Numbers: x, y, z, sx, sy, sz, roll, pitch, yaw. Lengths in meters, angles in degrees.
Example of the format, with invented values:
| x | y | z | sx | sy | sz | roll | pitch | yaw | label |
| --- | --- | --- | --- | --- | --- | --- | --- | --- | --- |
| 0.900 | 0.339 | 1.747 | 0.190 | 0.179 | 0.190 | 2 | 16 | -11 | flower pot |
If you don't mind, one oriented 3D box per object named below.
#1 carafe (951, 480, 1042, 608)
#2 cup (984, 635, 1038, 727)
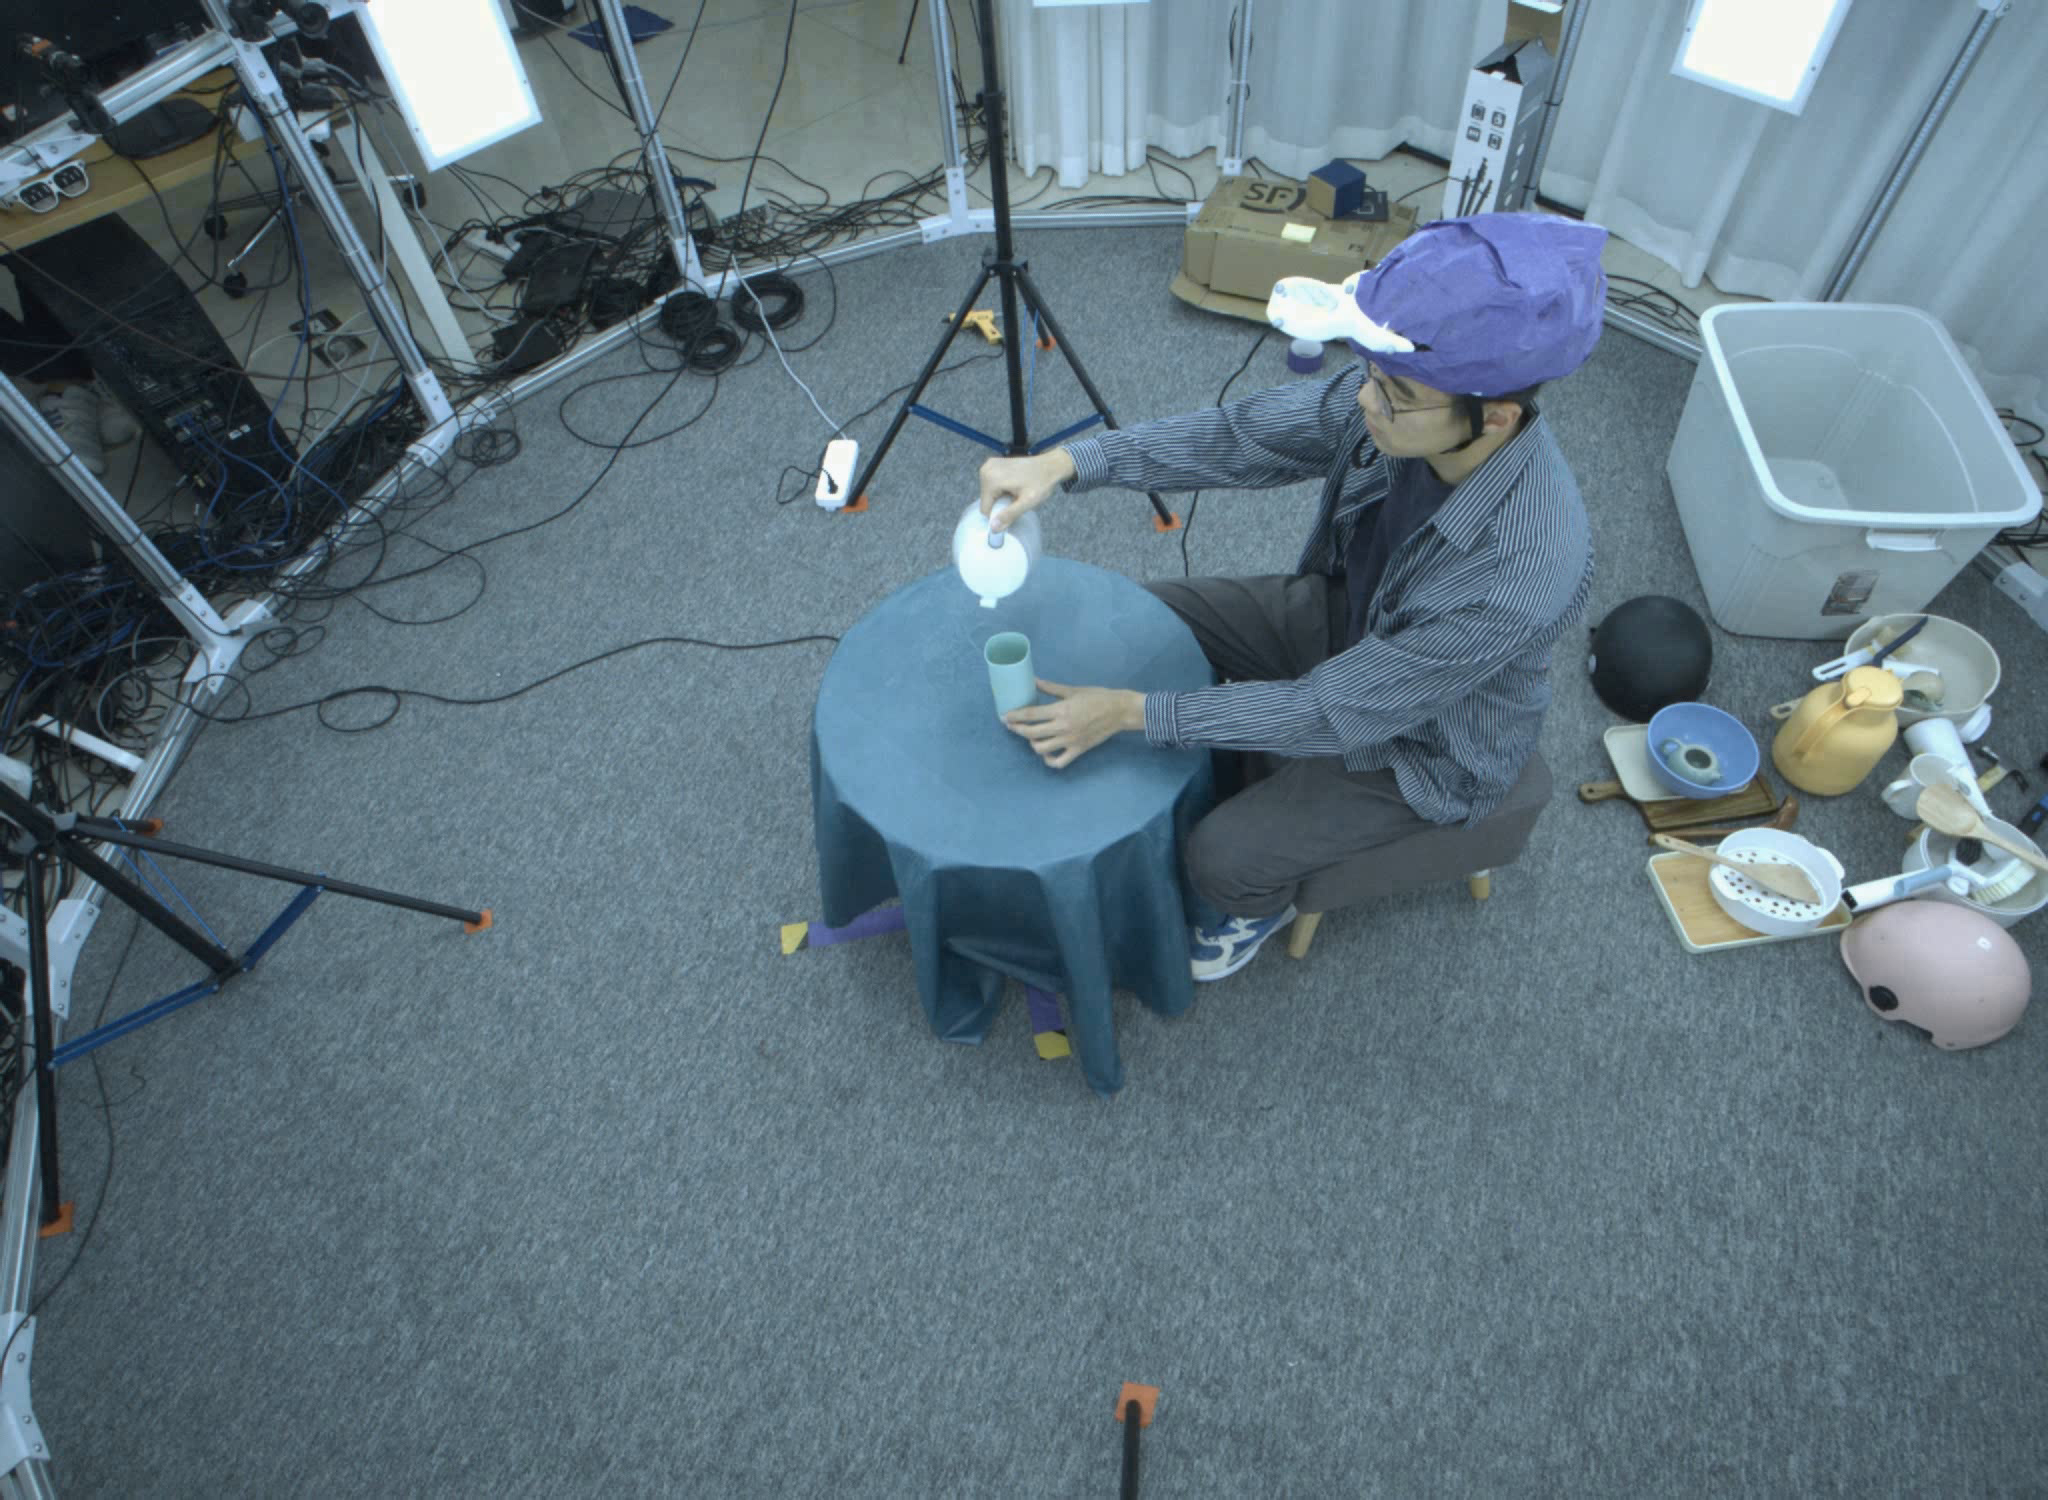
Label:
| x | y | z | sx | sy | sz | roll | pitch | yaw | label |
| --- | --- | --- | --- | --- | --- | --- | --- | --- | --- |
| -0.040 | -0.301 | 1.731 | 0.133 | 0.168 | 0.247 | 5 | 18 | -1 | carafe |
| -0.016 | -0.097 | 1.748 | 0.066 | 0.134 | 0.066 | -3 | 52 | 6 | cup |
